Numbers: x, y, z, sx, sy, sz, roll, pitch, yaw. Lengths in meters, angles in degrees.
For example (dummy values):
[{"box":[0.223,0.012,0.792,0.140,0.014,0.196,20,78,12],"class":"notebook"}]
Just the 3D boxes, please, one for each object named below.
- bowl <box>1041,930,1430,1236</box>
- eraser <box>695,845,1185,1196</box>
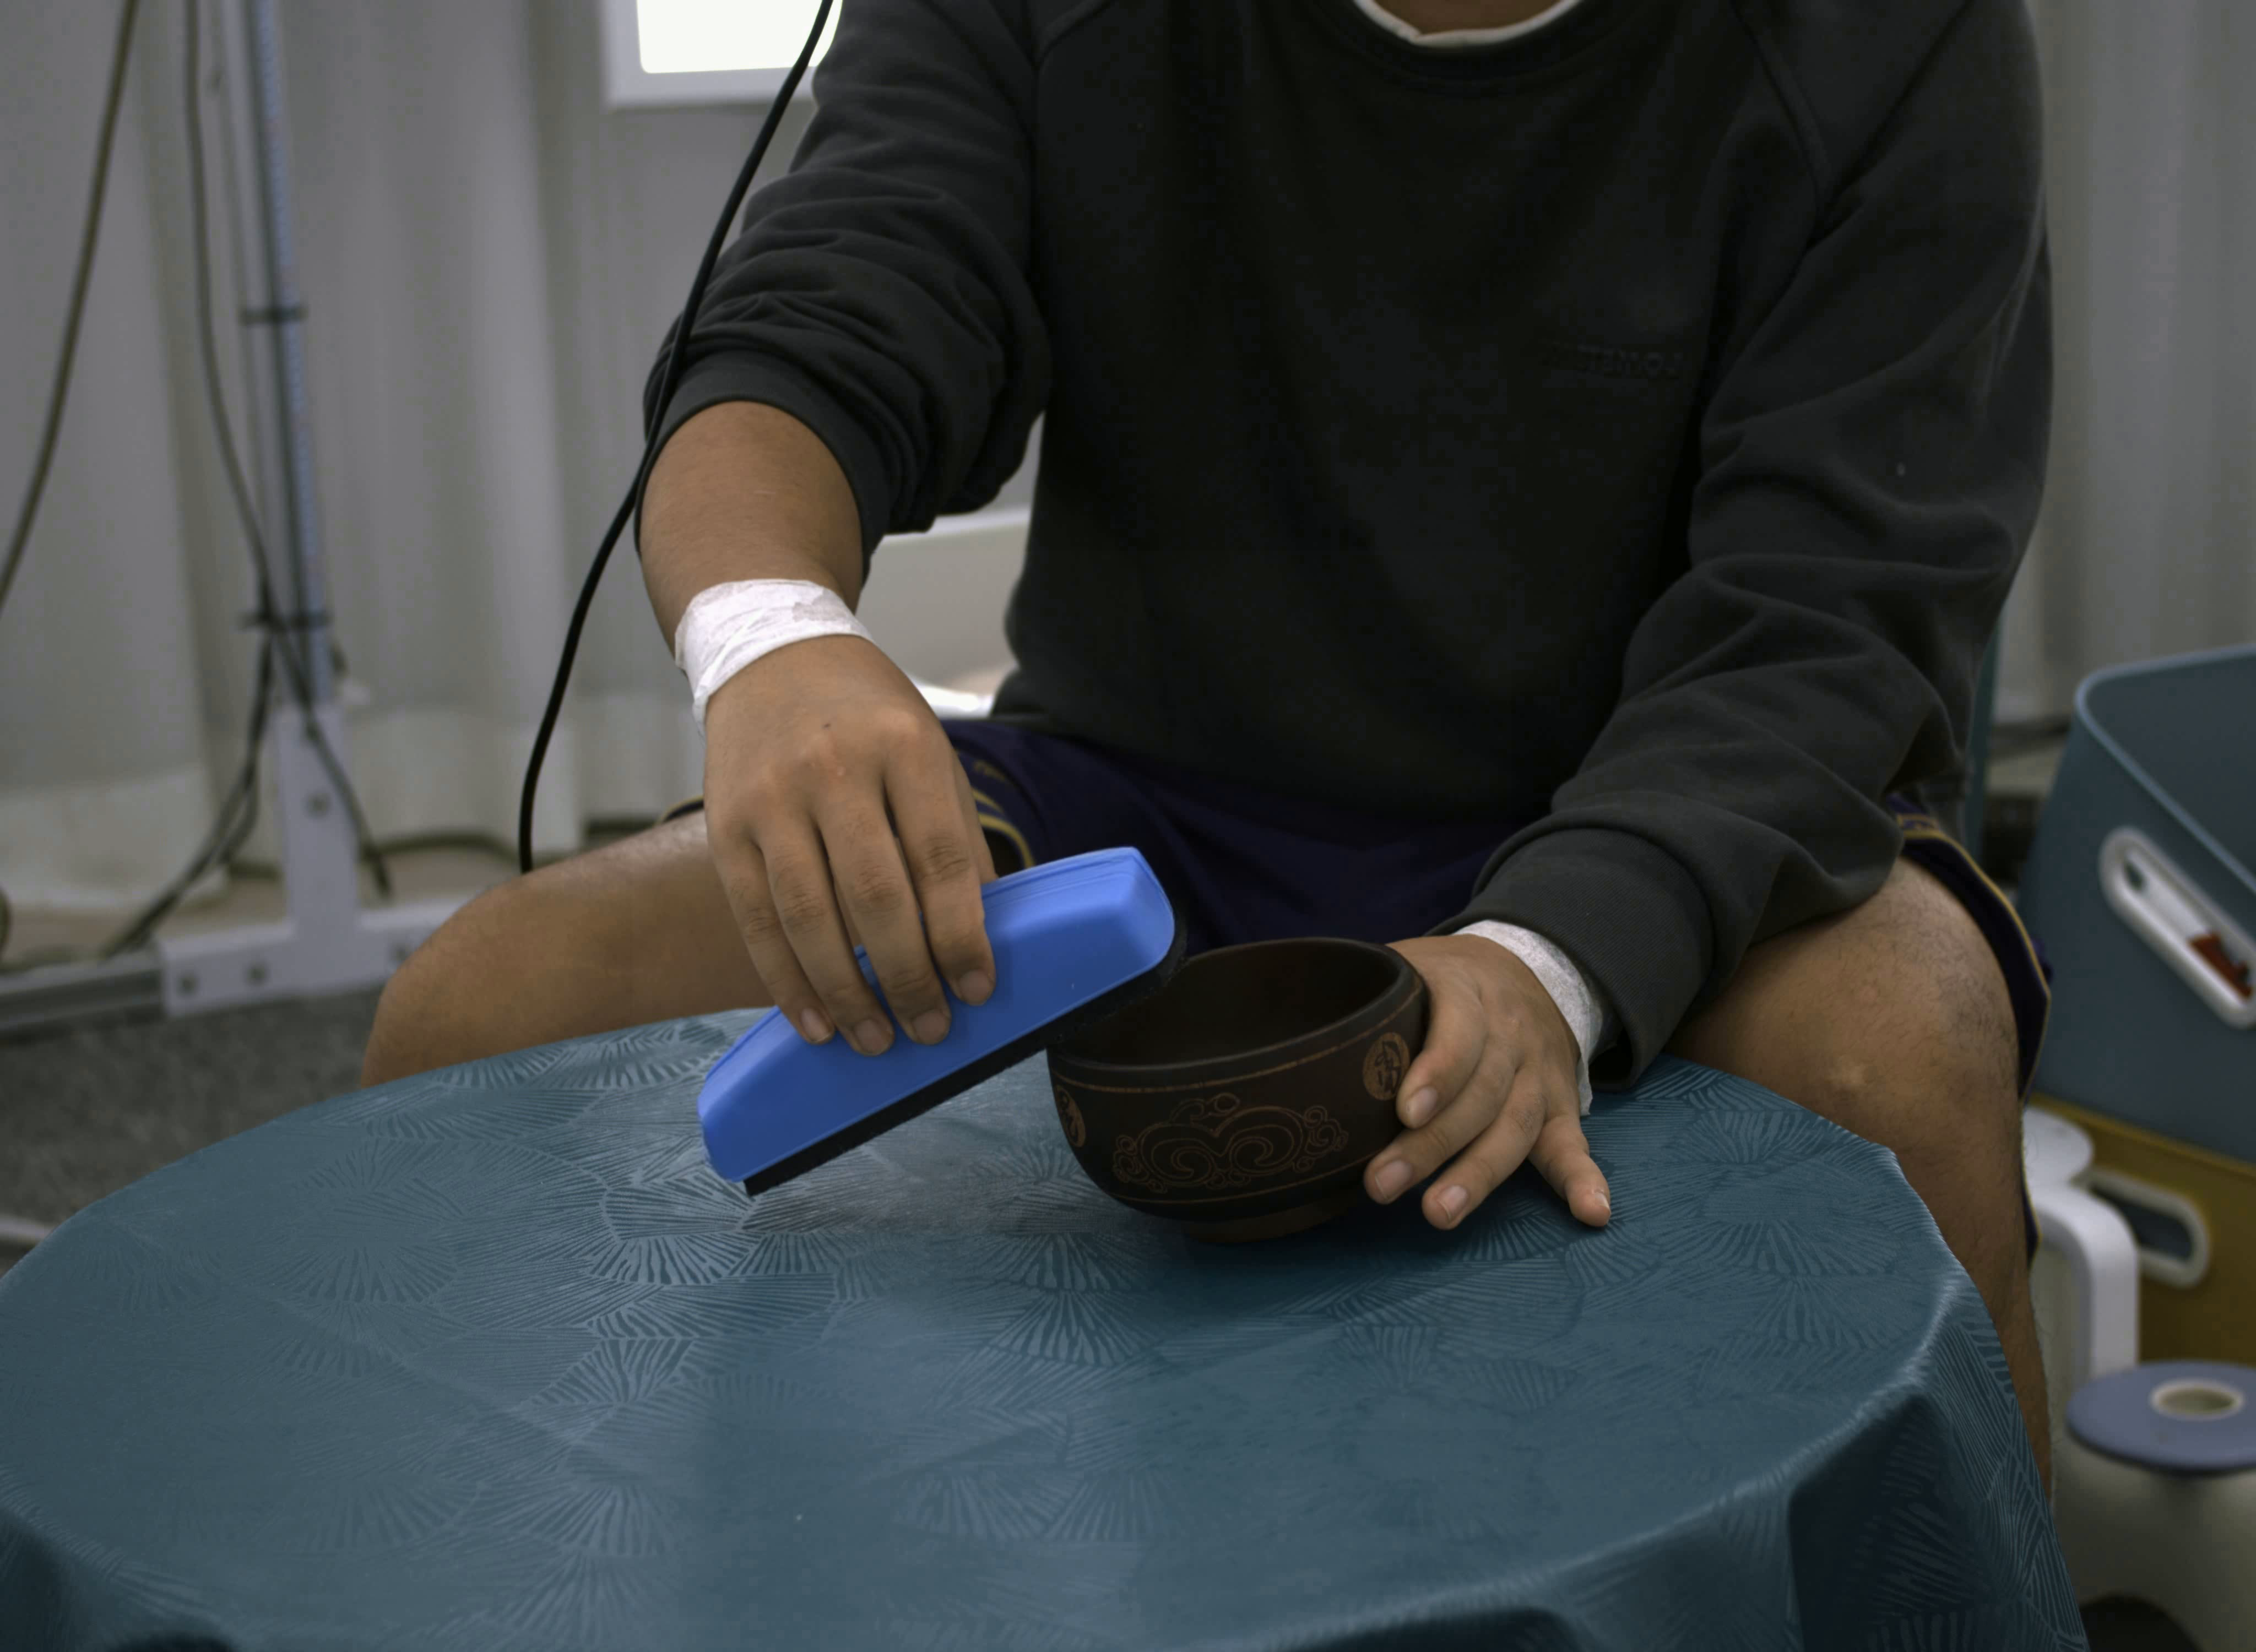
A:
[{"box":[0.037,0.083,1.671,0.117,0.069,0.119,-12,14,3],"class":"bowl"},{"box":[-0.061,0.055,1.683,0.162,0.047,0.054,-28,18,14],"class":"eraser"}]
